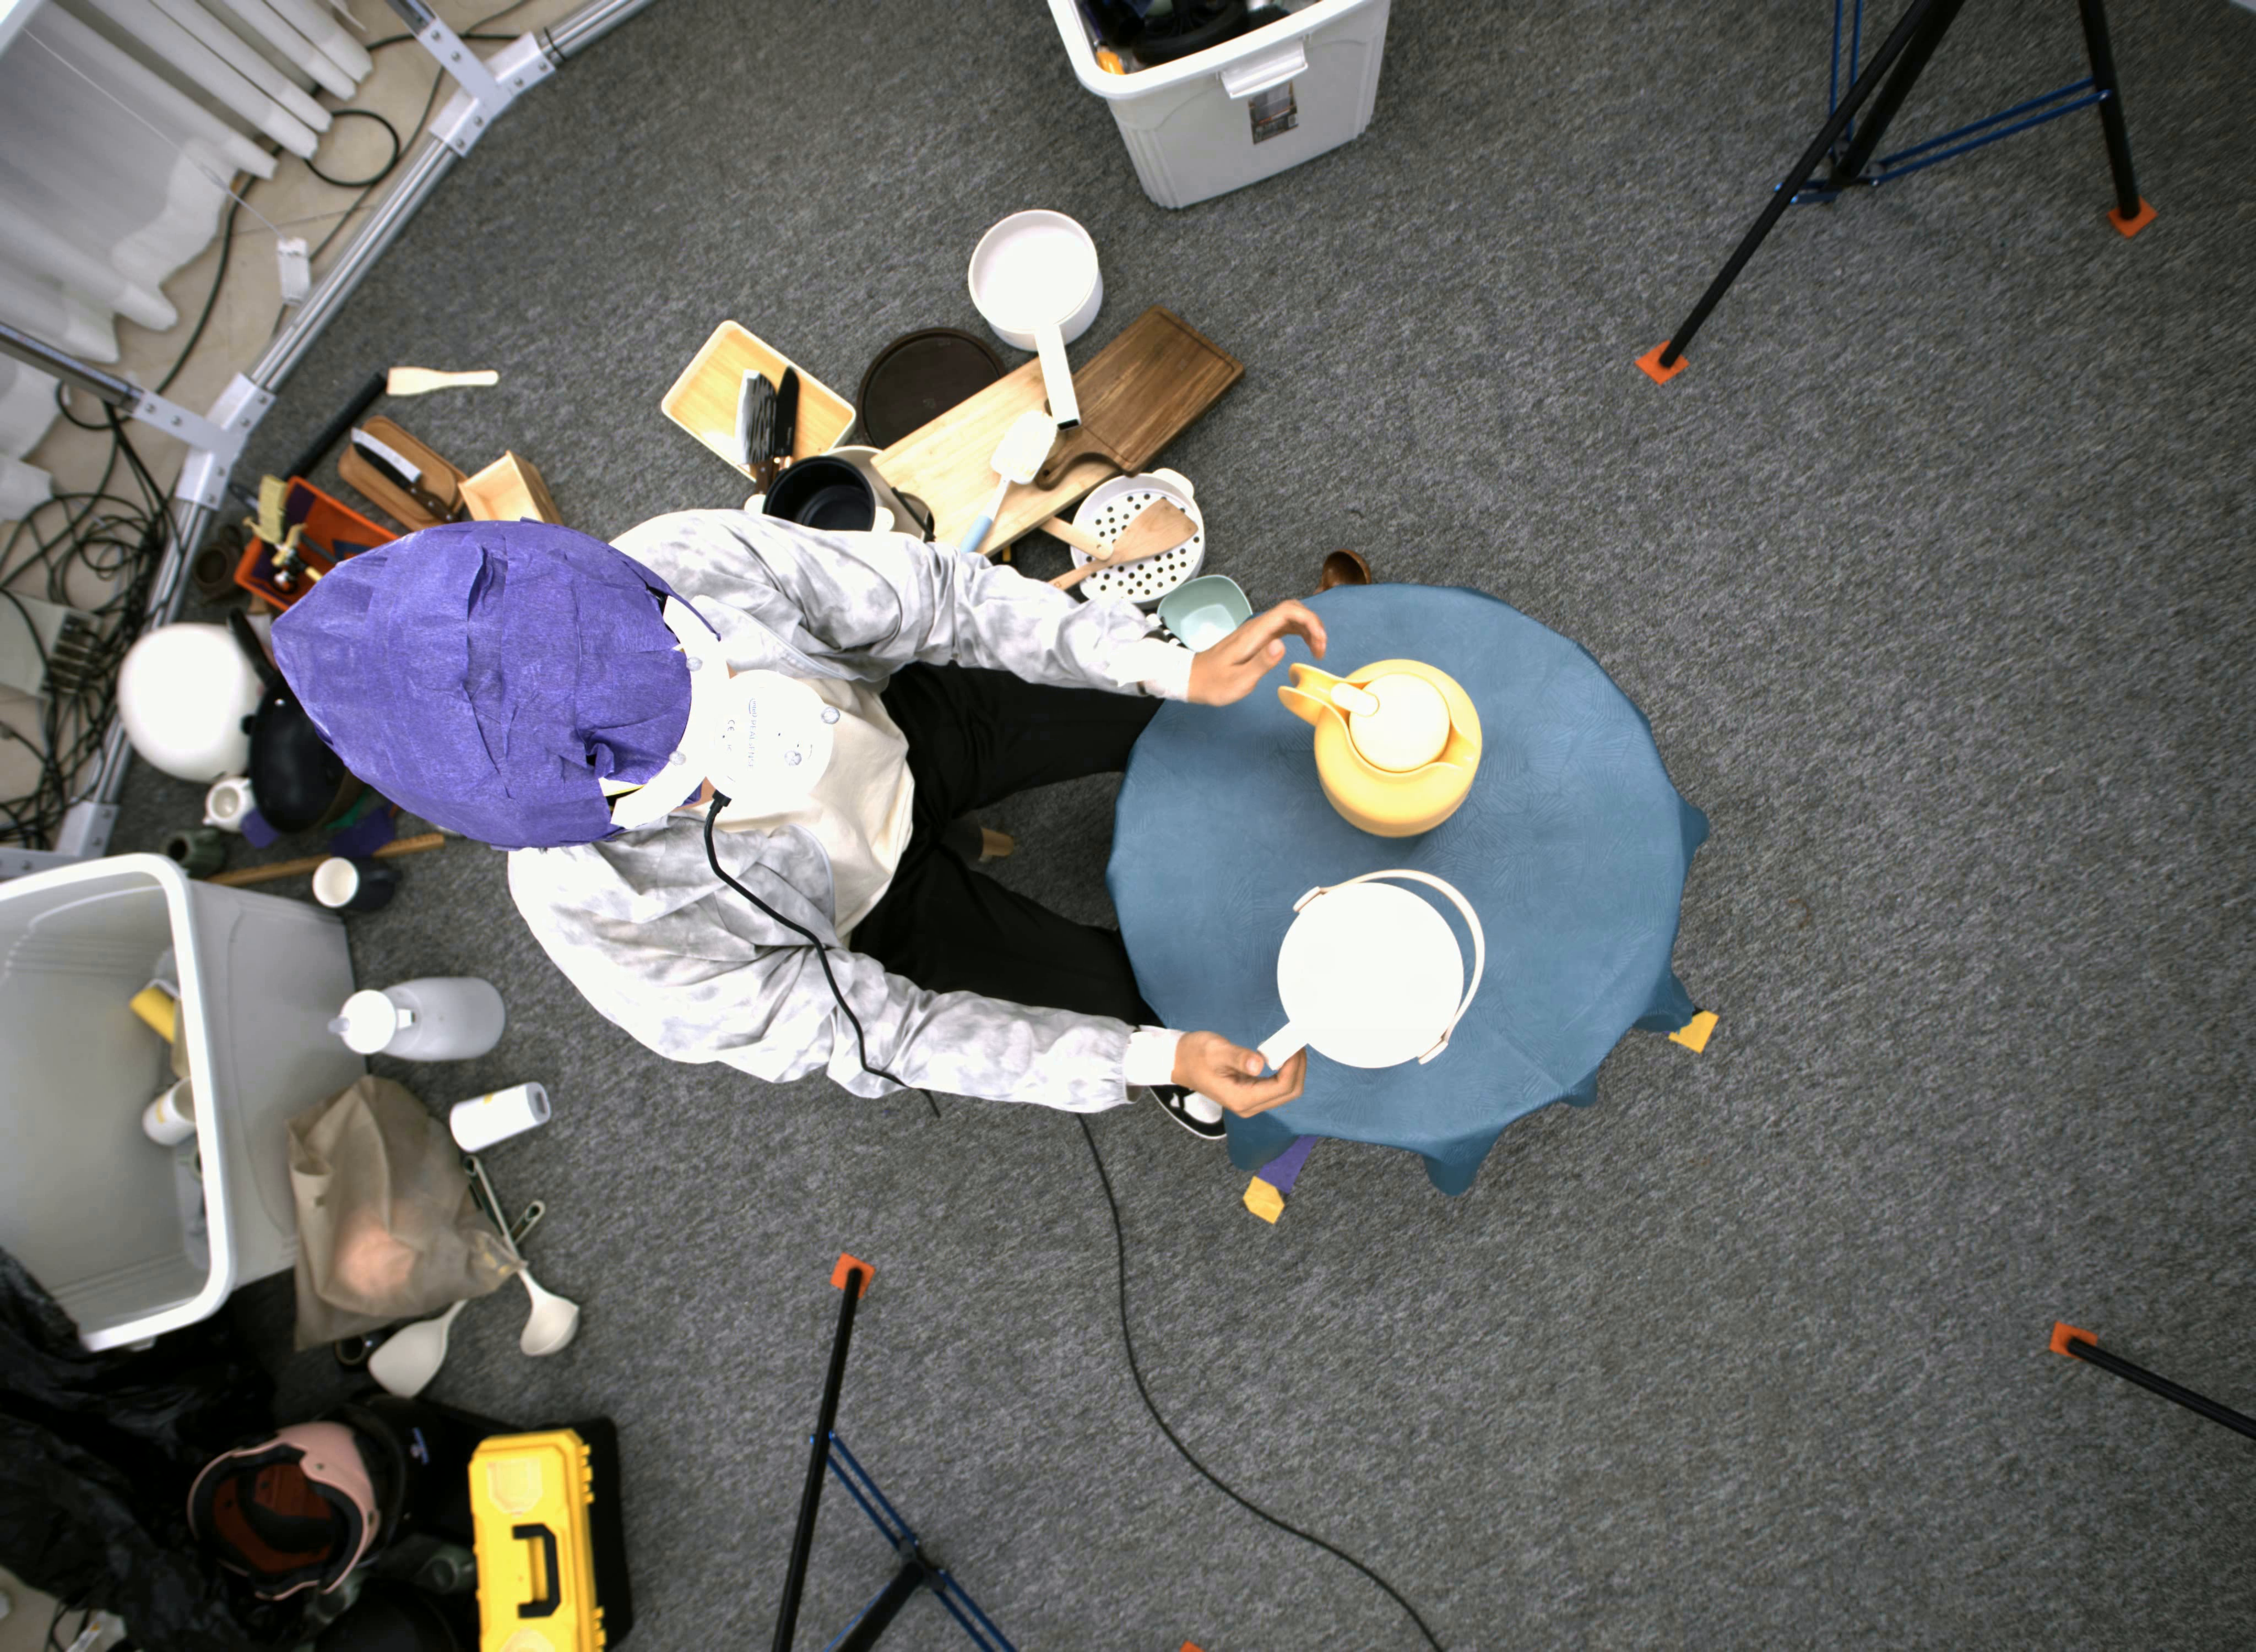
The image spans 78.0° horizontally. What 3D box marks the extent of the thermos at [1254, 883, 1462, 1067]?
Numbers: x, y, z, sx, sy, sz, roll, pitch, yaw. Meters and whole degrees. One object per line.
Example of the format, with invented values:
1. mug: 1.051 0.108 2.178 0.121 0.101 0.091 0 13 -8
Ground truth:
1. thermos: 0.207 0.143 1.264 0.208 0.407 0.174 -39 80 4

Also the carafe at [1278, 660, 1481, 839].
1. carafe: 0.243 -0.090 1.339 0.202 0.261 0.163 29 88 10
